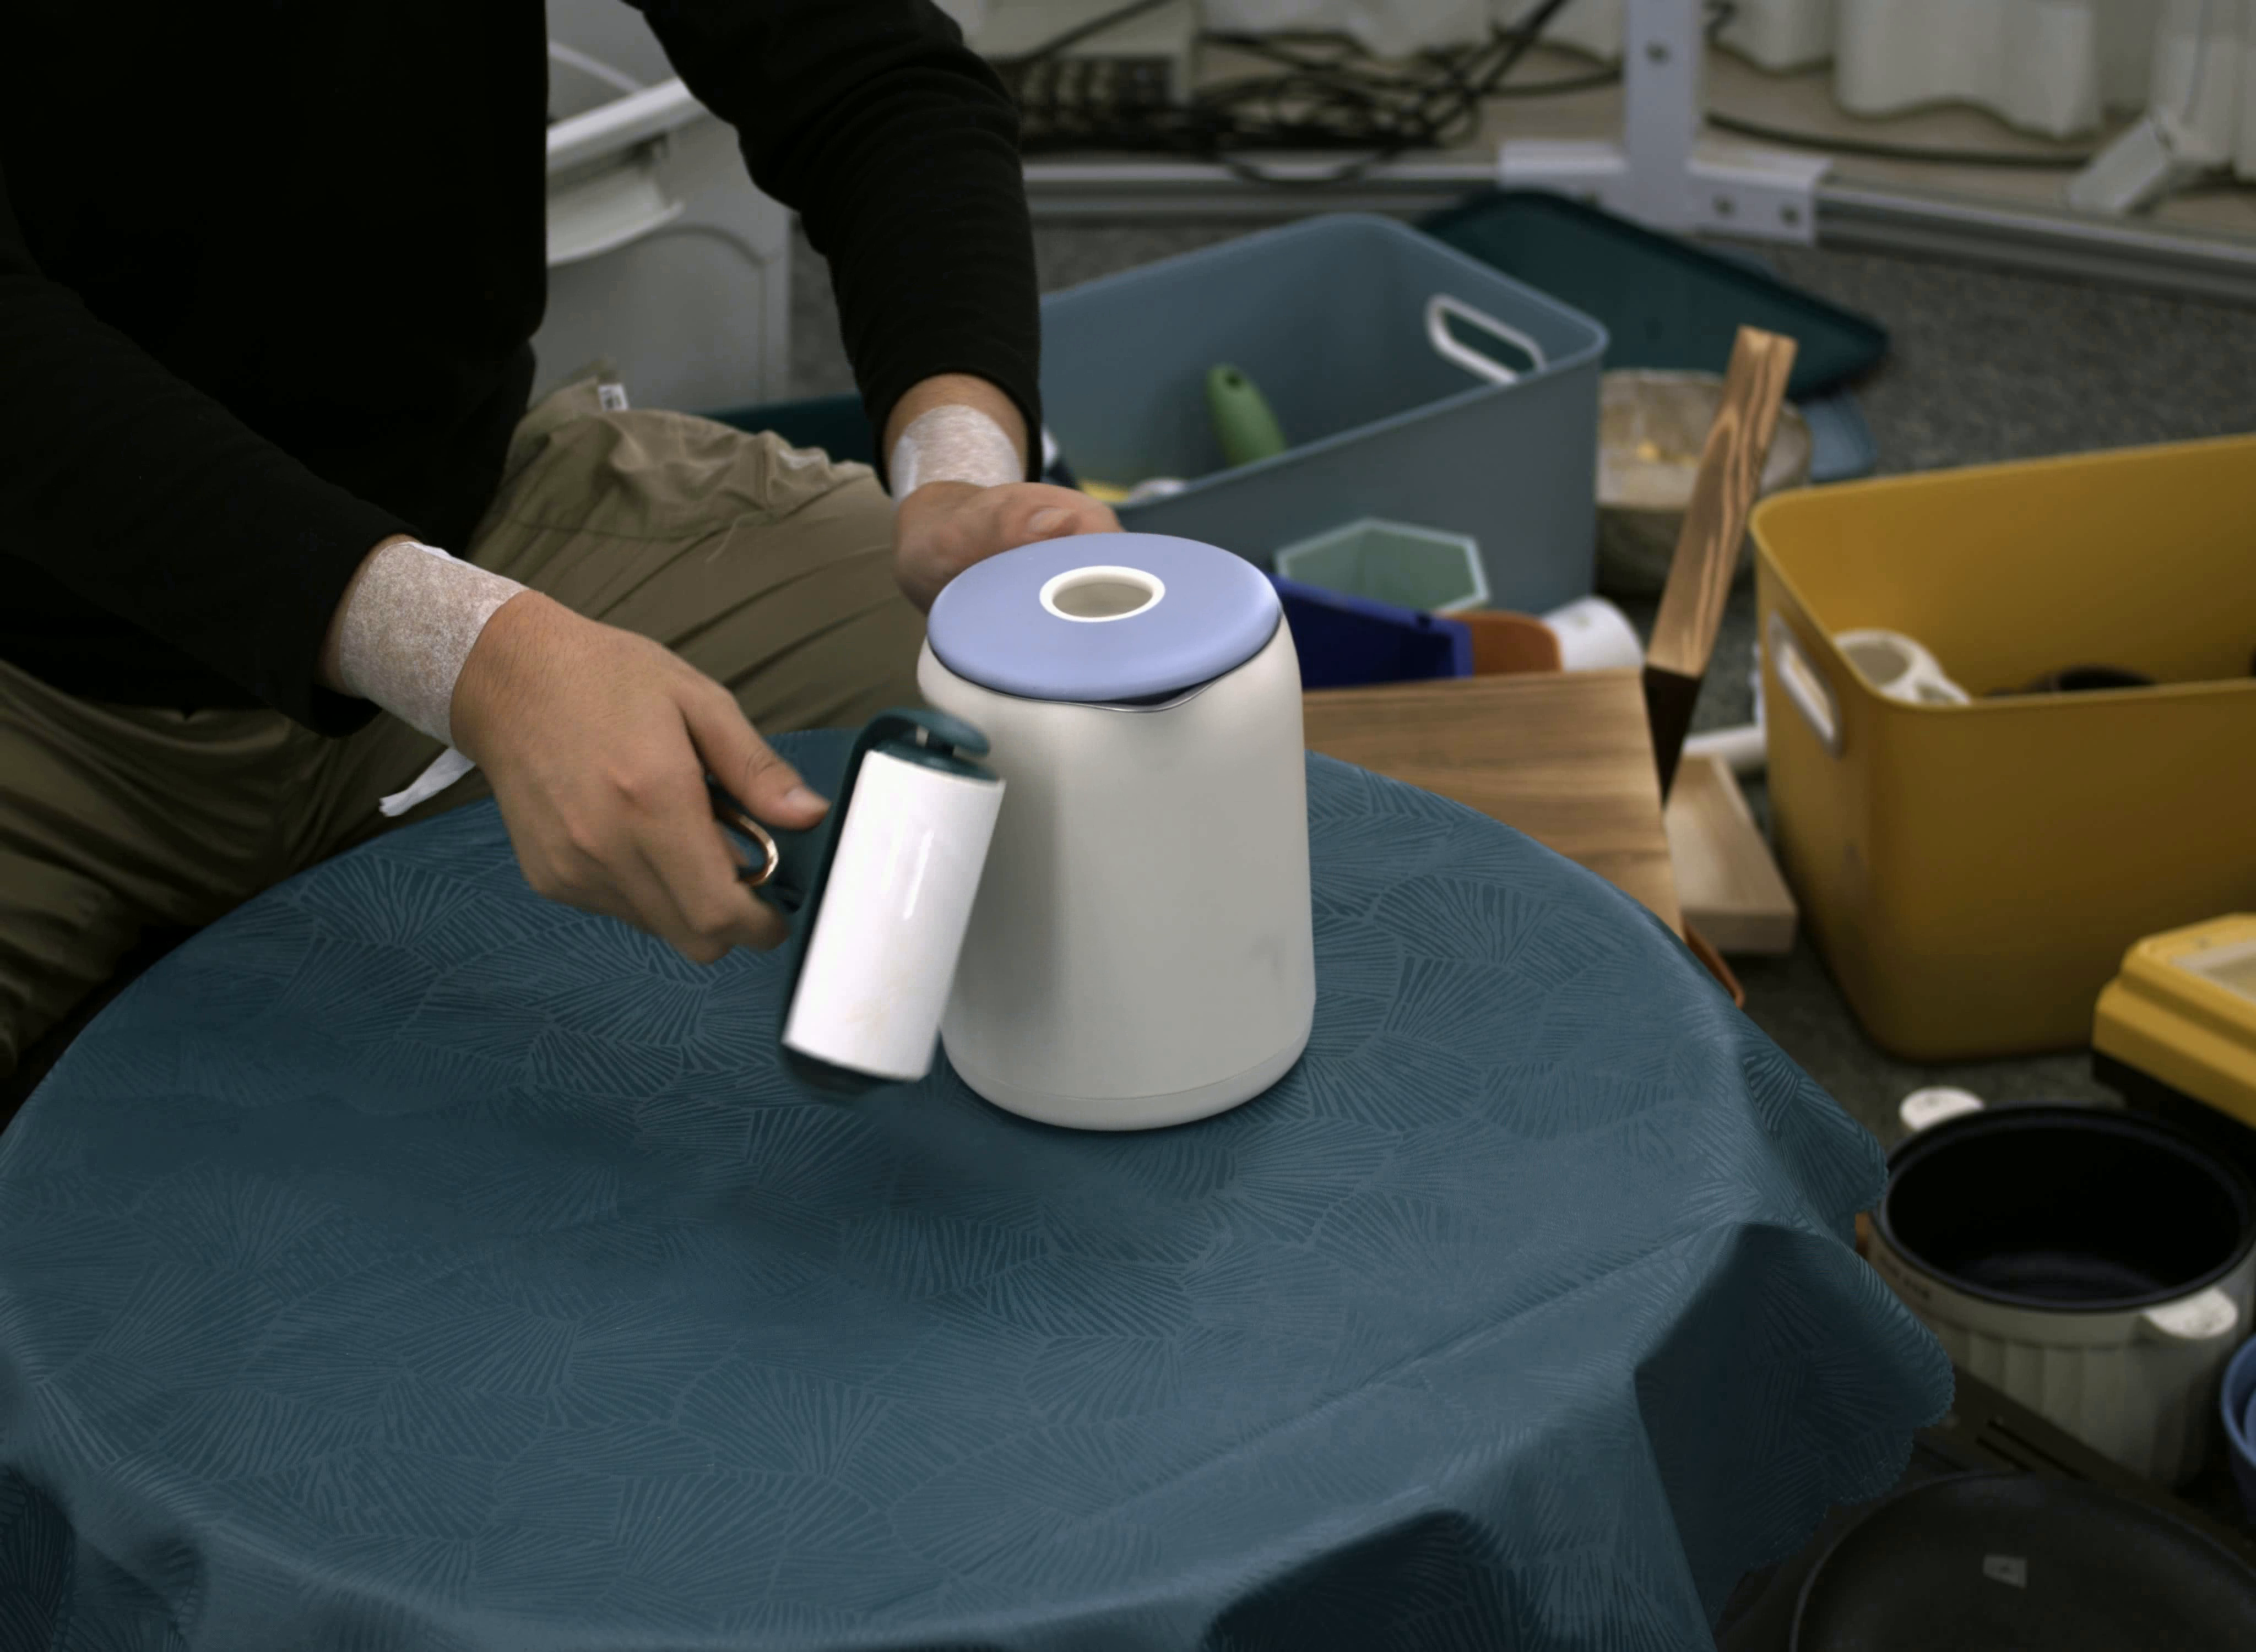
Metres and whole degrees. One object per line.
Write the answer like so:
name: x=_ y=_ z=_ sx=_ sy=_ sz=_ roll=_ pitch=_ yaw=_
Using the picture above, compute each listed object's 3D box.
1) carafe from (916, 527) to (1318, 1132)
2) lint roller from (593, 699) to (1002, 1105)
carafe: x=-0.010 y=-0.010 z=1.931 sx=0.132 sy=0.181 sz=0.193 roll=-10 pitch=26 yaw=-14
lint roller: x=-0.125 y=0.008 z=1.854 sx=0.179 sy=0.134 sz=0.048 roll=17 pitch=5 yaw=36
